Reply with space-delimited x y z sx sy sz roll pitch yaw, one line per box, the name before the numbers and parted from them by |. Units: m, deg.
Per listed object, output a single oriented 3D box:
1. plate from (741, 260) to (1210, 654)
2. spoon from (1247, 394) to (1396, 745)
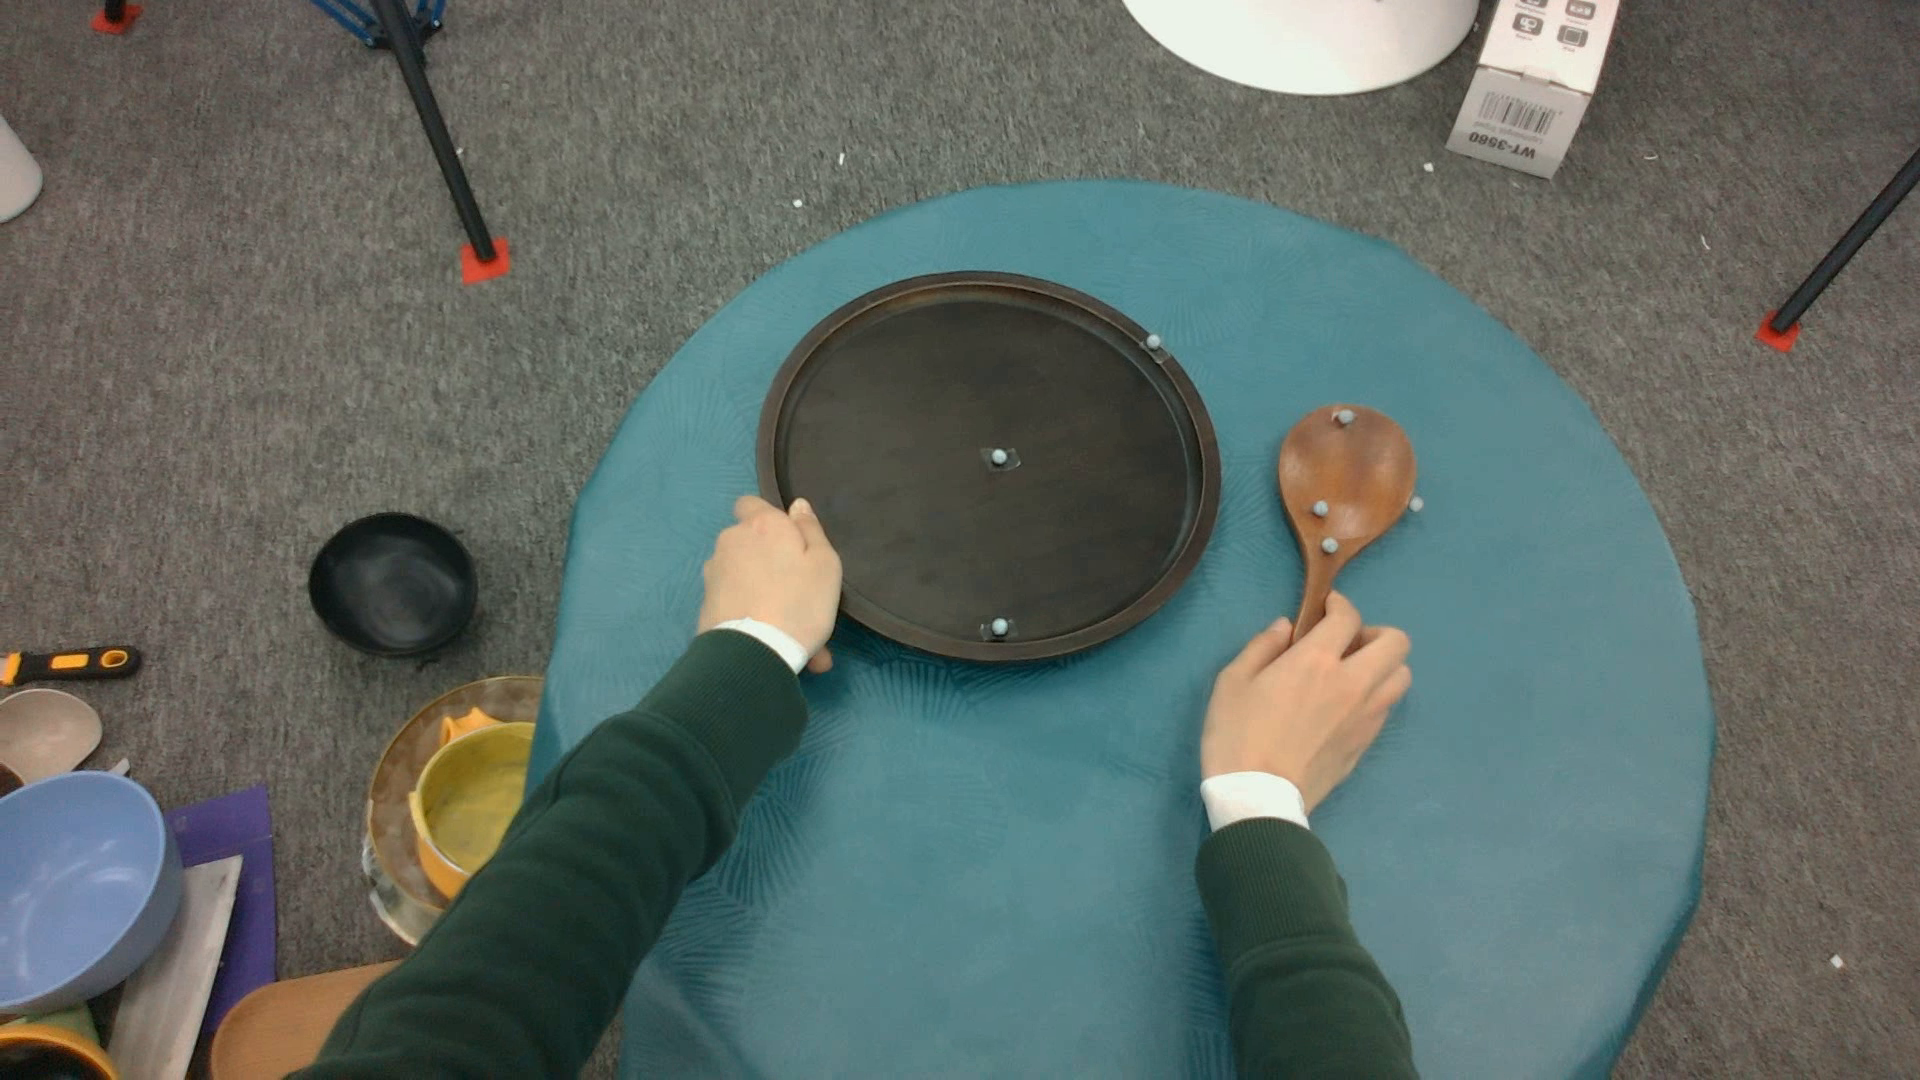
plate | 0.009 -0.051 0.748 0.255 0.029 0.256 3 58 -4
spoon | 0.184 0.011 0.730 0.075 0.017 0.217 16 60 6
